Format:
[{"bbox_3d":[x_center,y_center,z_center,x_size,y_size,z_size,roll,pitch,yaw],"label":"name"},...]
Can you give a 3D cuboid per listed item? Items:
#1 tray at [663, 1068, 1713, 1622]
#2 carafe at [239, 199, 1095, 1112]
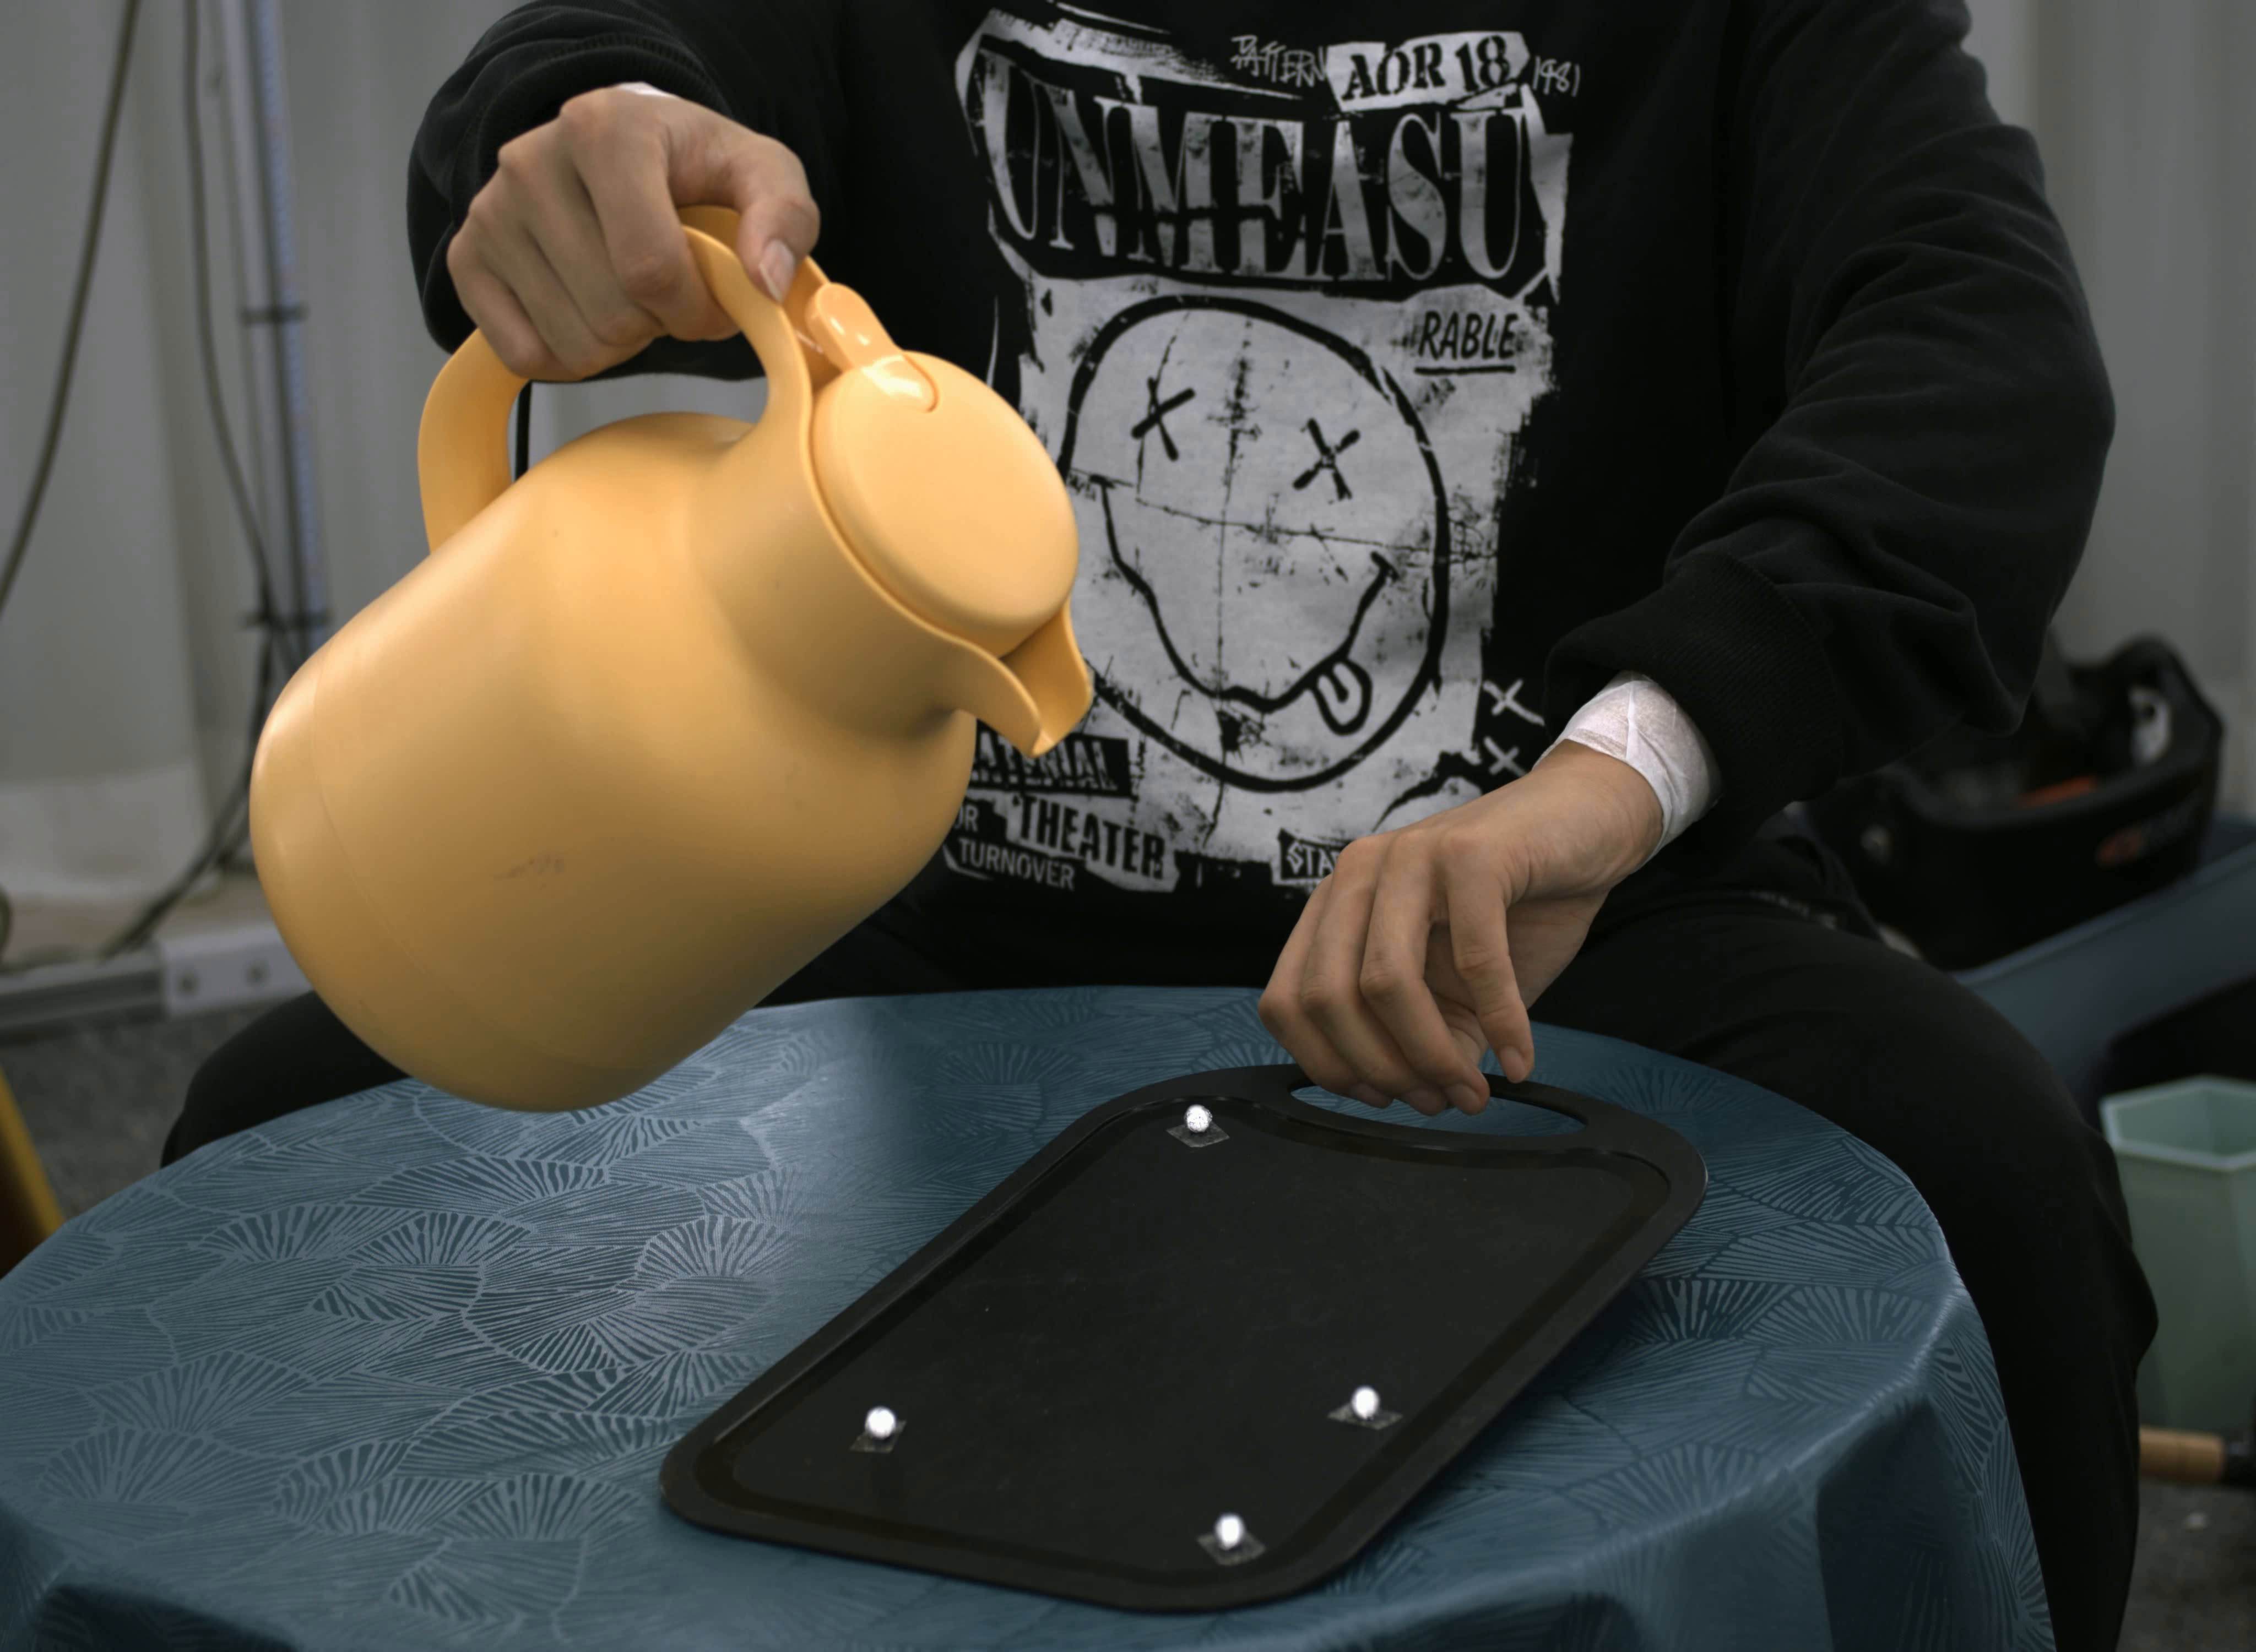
[{"bbox_3d":[0.025,0.135,1.550,0.212,0.010,0.326,7,24,30],"label":"tray"},{"bbox_3d":[-0.135,-0.053,1.571,0.259,0.203,0.163,-35,-9,33],"label":"carafe"}]
